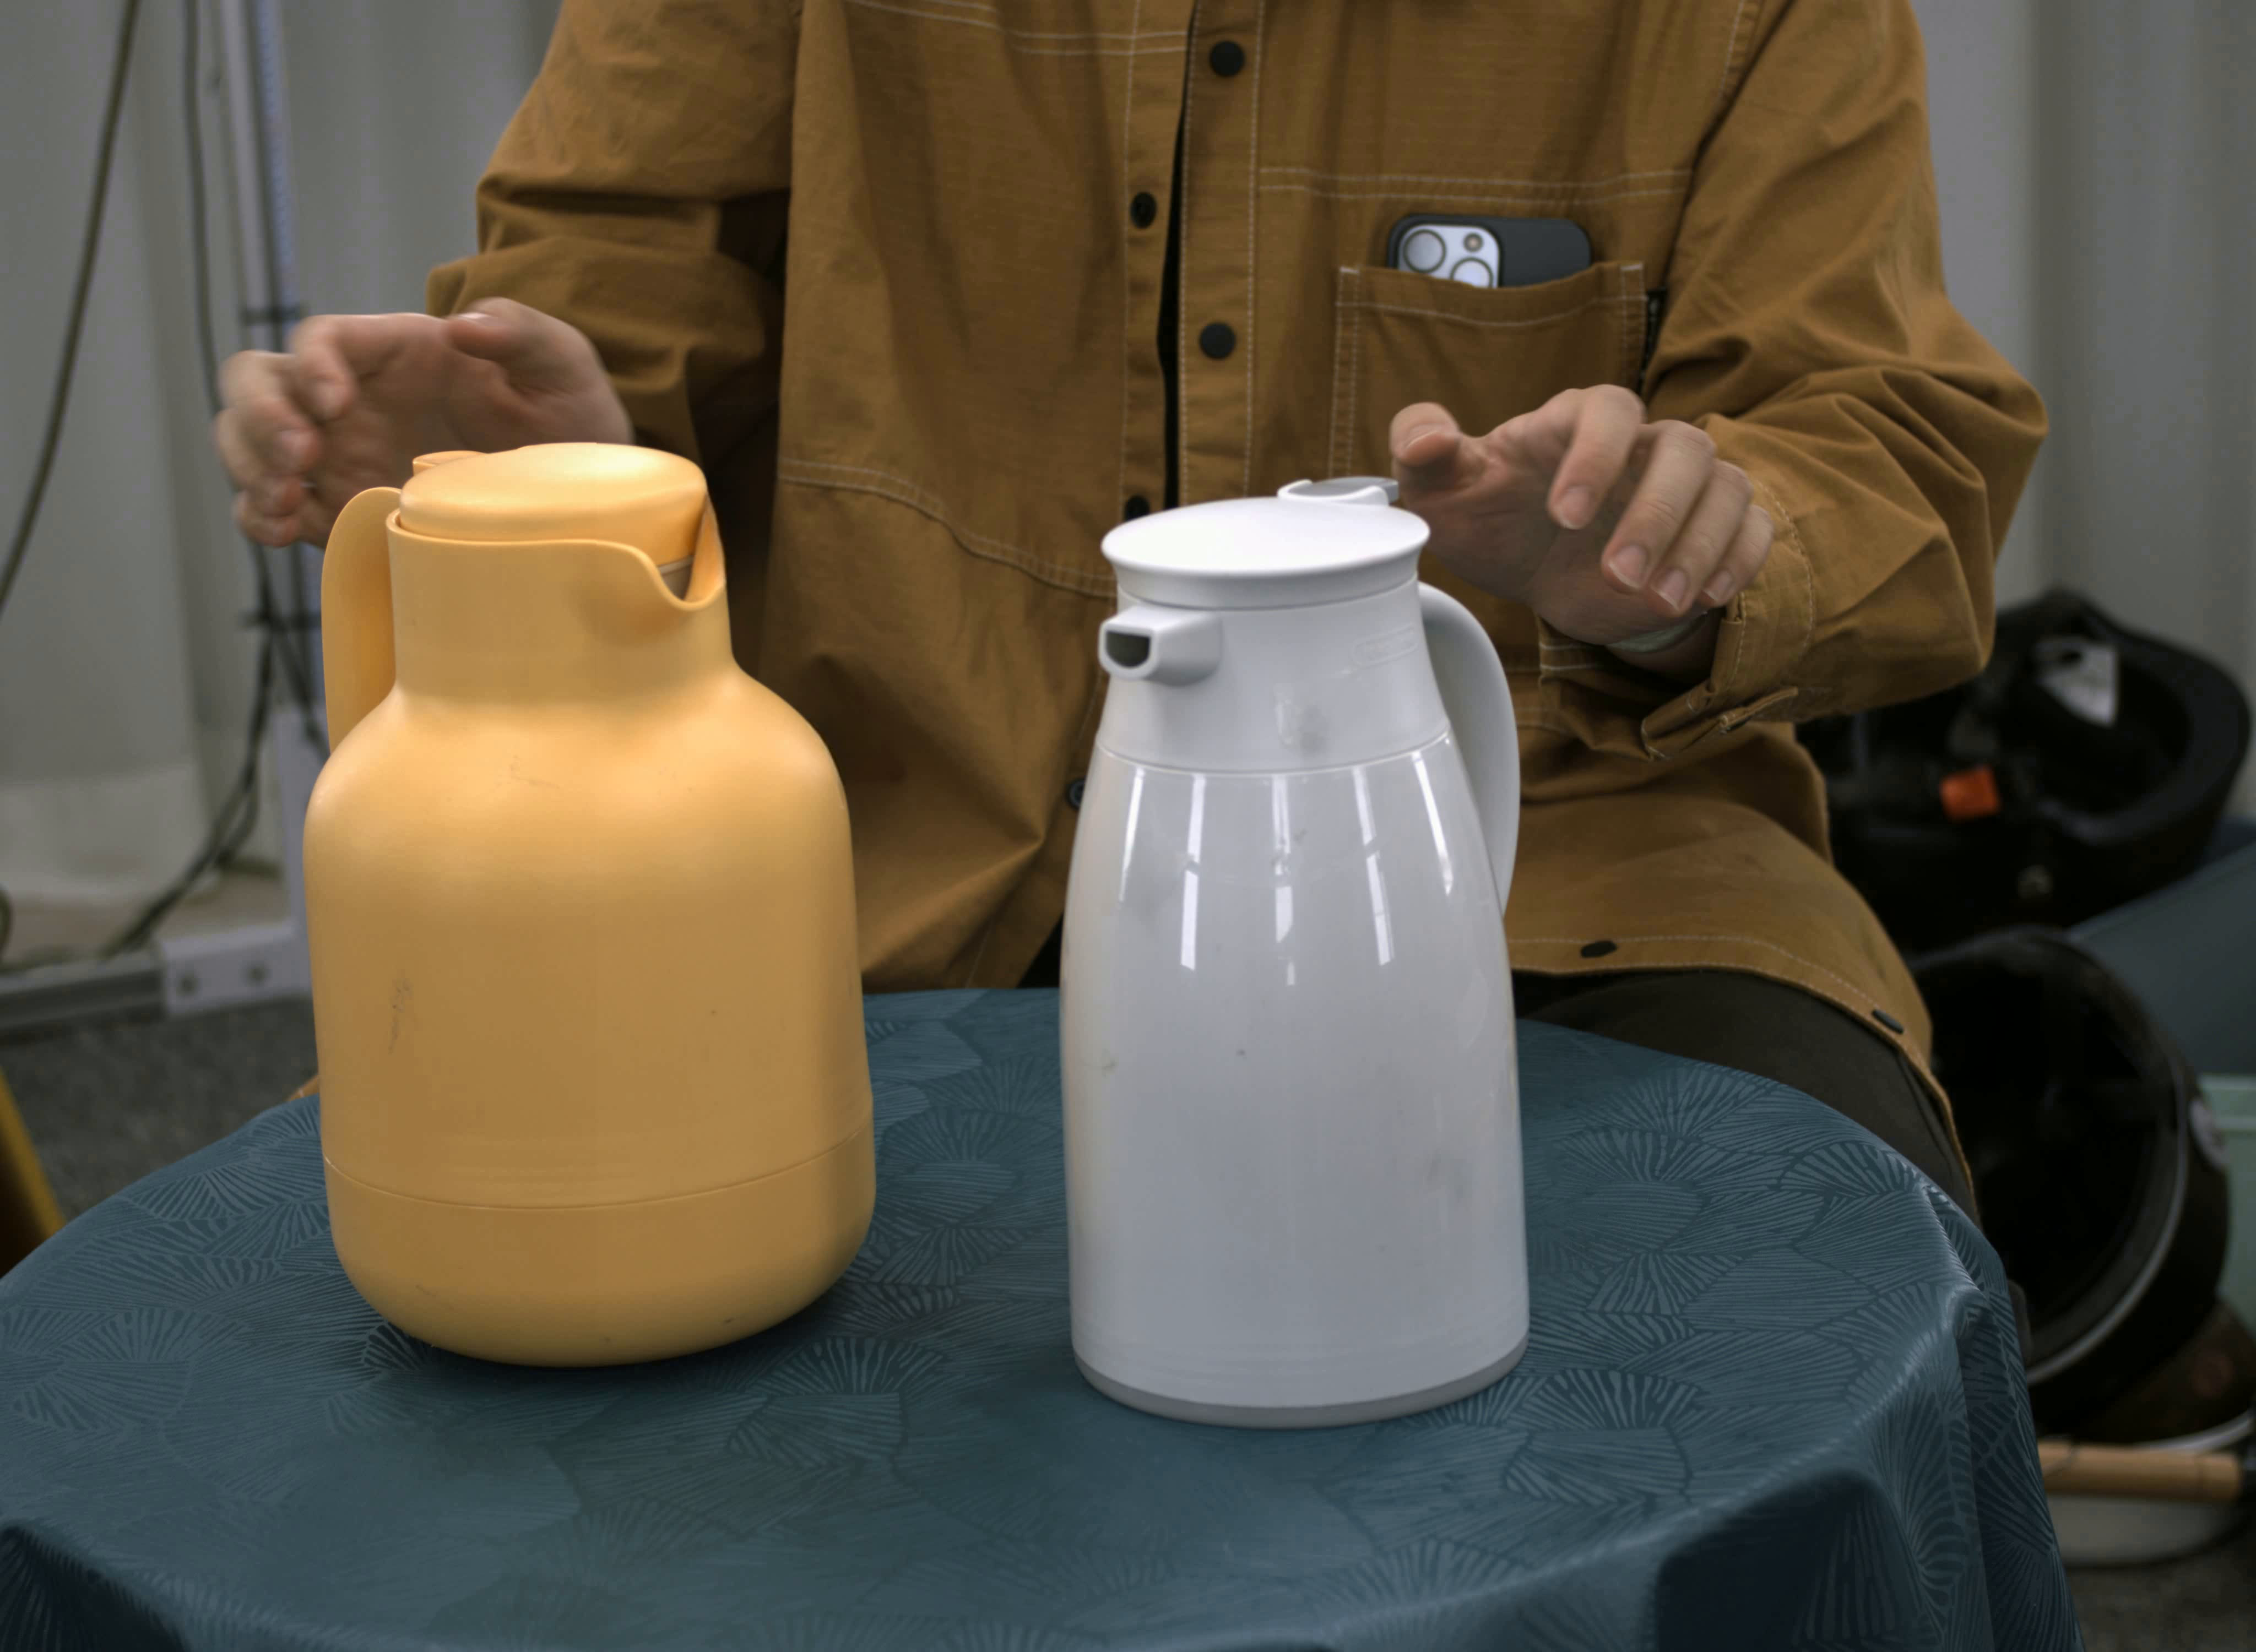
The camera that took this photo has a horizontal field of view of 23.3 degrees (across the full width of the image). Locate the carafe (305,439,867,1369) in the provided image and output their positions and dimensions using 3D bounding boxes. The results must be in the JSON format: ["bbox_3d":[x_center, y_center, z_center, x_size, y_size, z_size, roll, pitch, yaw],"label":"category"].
[{"bbox_3d":[-0.170,0.014,1.623,0.163,0.259,0.204,-10,17,-34],"label":"carafe"}]

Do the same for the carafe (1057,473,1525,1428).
[{"bbox_3d":[0.054,0.026,1.557,0.133,0.248,0.167,8,17,38],"label":"carafe"}]
